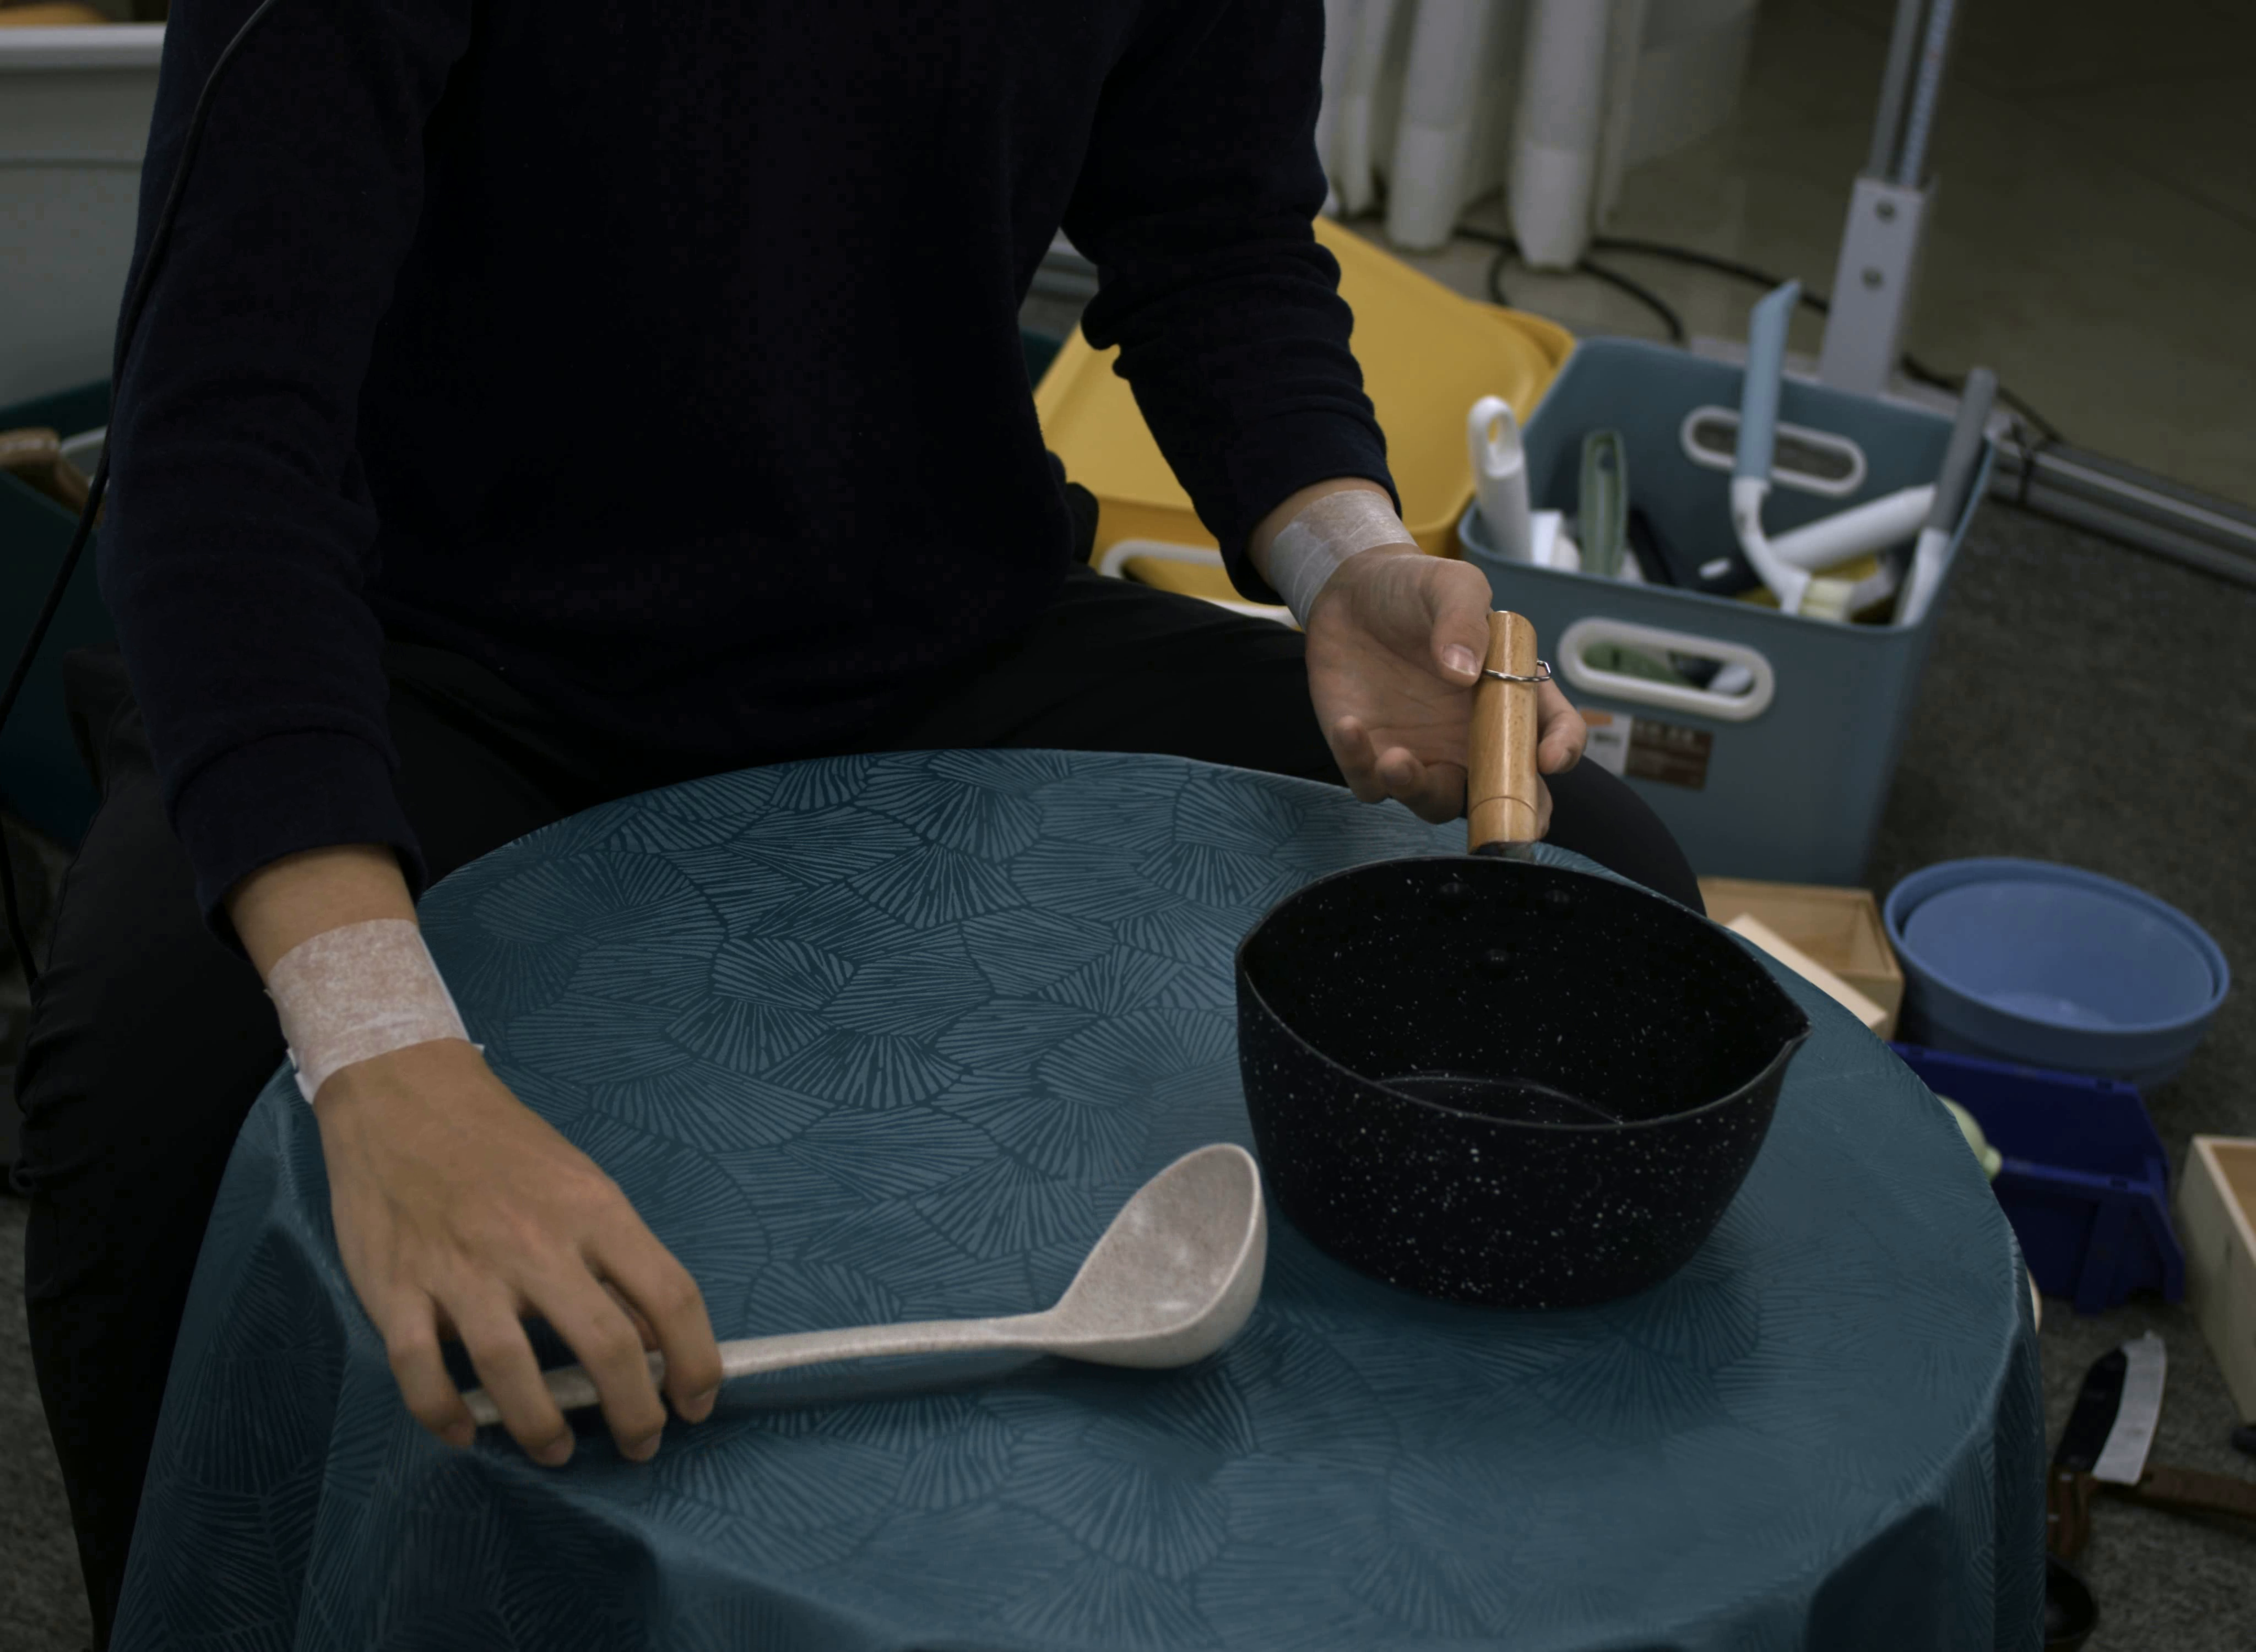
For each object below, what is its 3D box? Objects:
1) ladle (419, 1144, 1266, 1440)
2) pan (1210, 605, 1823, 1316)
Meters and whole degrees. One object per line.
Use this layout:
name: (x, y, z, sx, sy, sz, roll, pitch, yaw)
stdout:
ladle: (-0.087, 0.145, 1.663, 0.273, 0.069, 0.090, -4, 17, -21)
pan: (0.129, 0.043, 1.870, 0.207, 0.108, 0.345, 5, 29, -1)
